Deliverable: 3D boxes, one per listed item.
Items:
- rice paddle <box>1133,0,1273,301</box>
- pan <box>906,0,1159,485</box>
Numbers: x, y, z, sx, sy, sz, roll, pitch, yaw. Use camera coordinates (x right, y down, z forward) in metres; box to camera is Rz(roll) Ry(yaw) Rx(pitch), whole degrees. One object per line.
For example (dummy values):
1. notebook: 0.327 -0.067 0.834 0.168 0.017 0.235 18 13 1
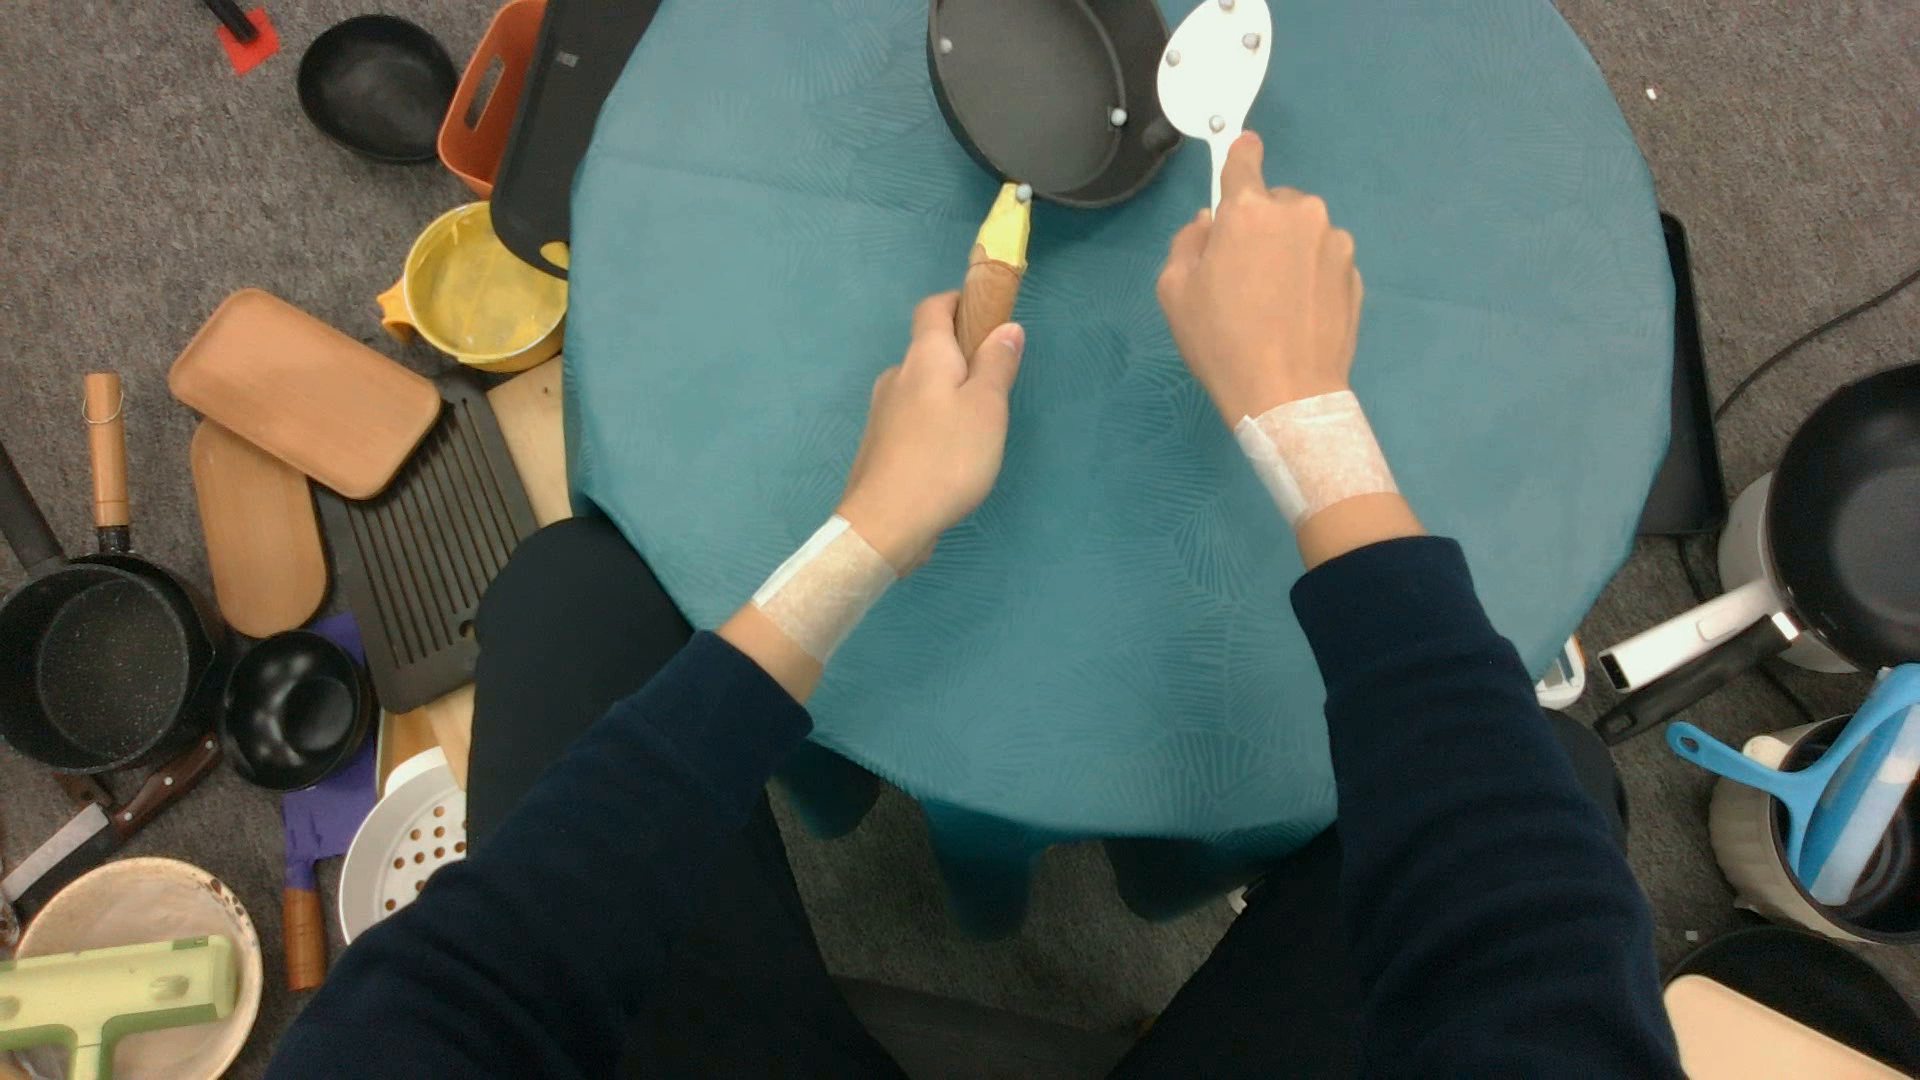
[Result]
1. rice paddle: 0.123 -0.208 0.691 0.068 0.029 0.206 -27 52 33
2. pan: 0.015 -0.174 0.688 0.169 0.049 0.325 27 68 -28
